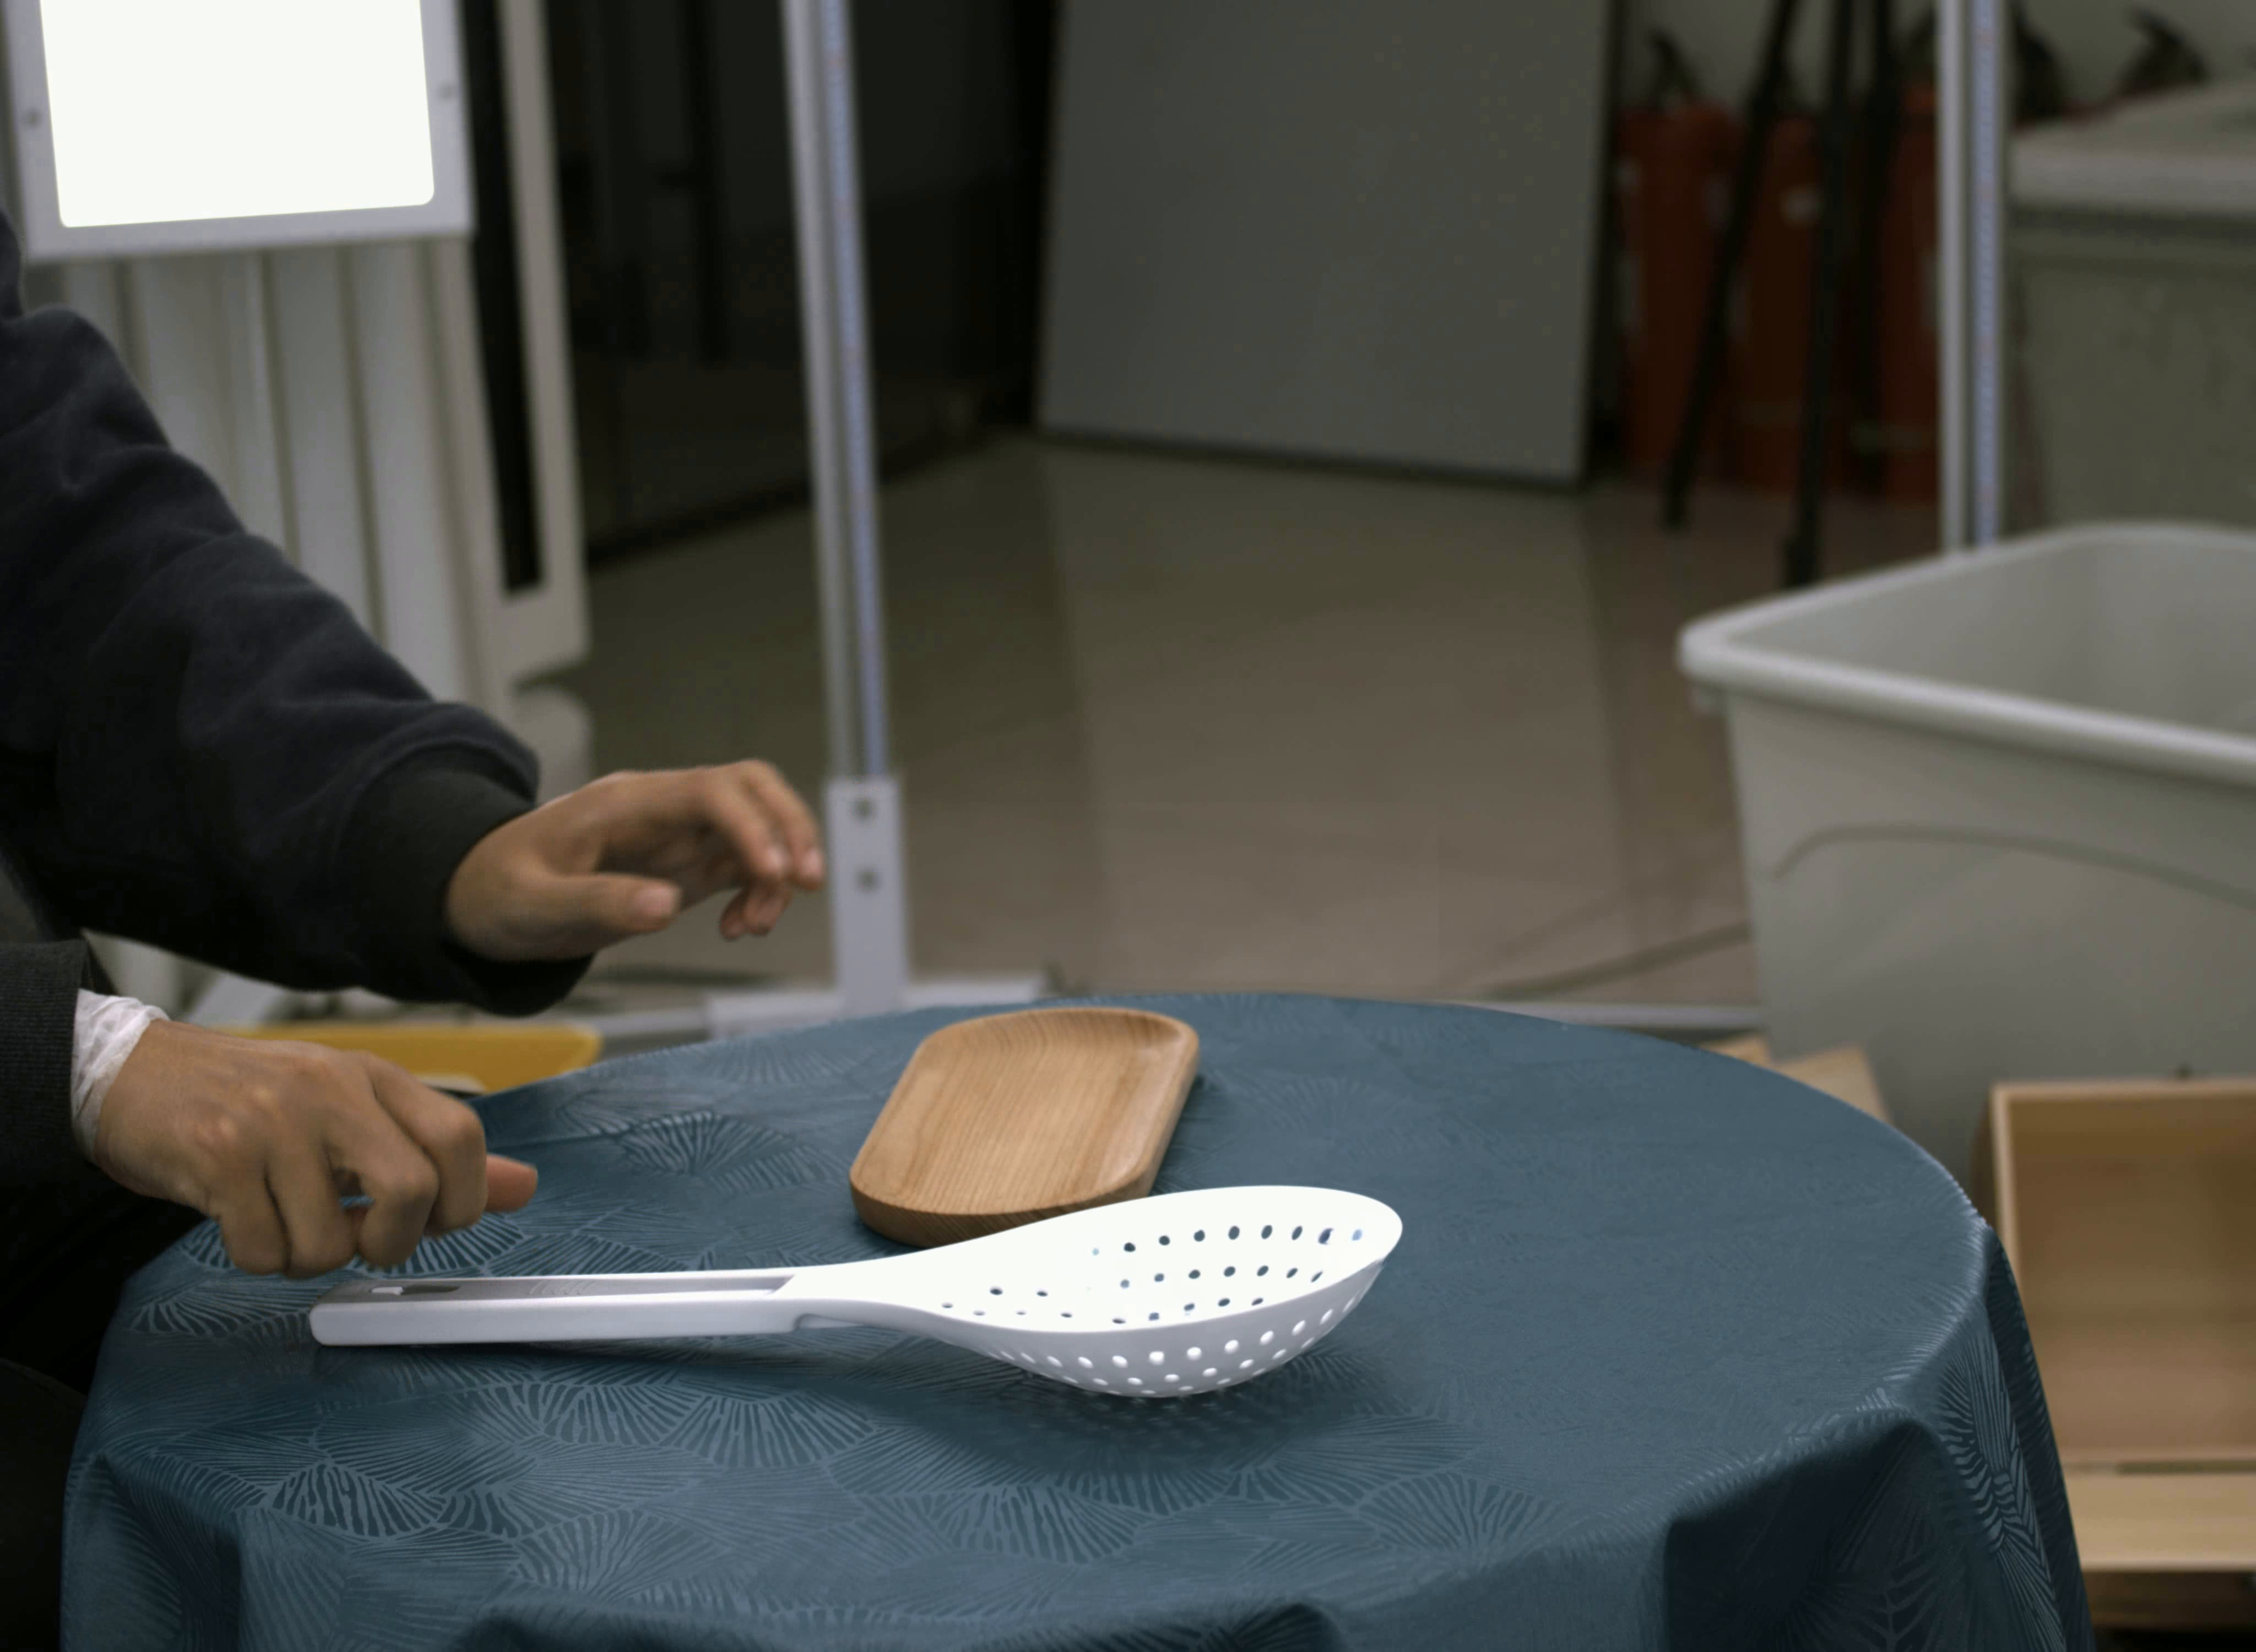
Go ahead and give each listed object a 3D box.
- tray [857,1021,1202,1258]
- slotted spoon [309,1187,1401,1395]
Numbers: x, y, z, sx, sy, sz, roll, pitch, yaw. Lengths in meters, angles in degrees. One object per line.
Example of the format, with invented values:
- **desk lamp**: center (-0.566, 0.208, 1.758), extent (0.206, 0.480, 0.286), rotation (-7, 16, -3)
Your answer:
- **tray**: center (-0.031, 0.103, 1.817), extent (0.101, 0.020, 0.230), rotation (-4, 15, 8)
- **slotted spoon**: center (-0.086, 0.141, 1.616), extent (0.349, 0.046, 0.135), rotation (0, 12, 19)
